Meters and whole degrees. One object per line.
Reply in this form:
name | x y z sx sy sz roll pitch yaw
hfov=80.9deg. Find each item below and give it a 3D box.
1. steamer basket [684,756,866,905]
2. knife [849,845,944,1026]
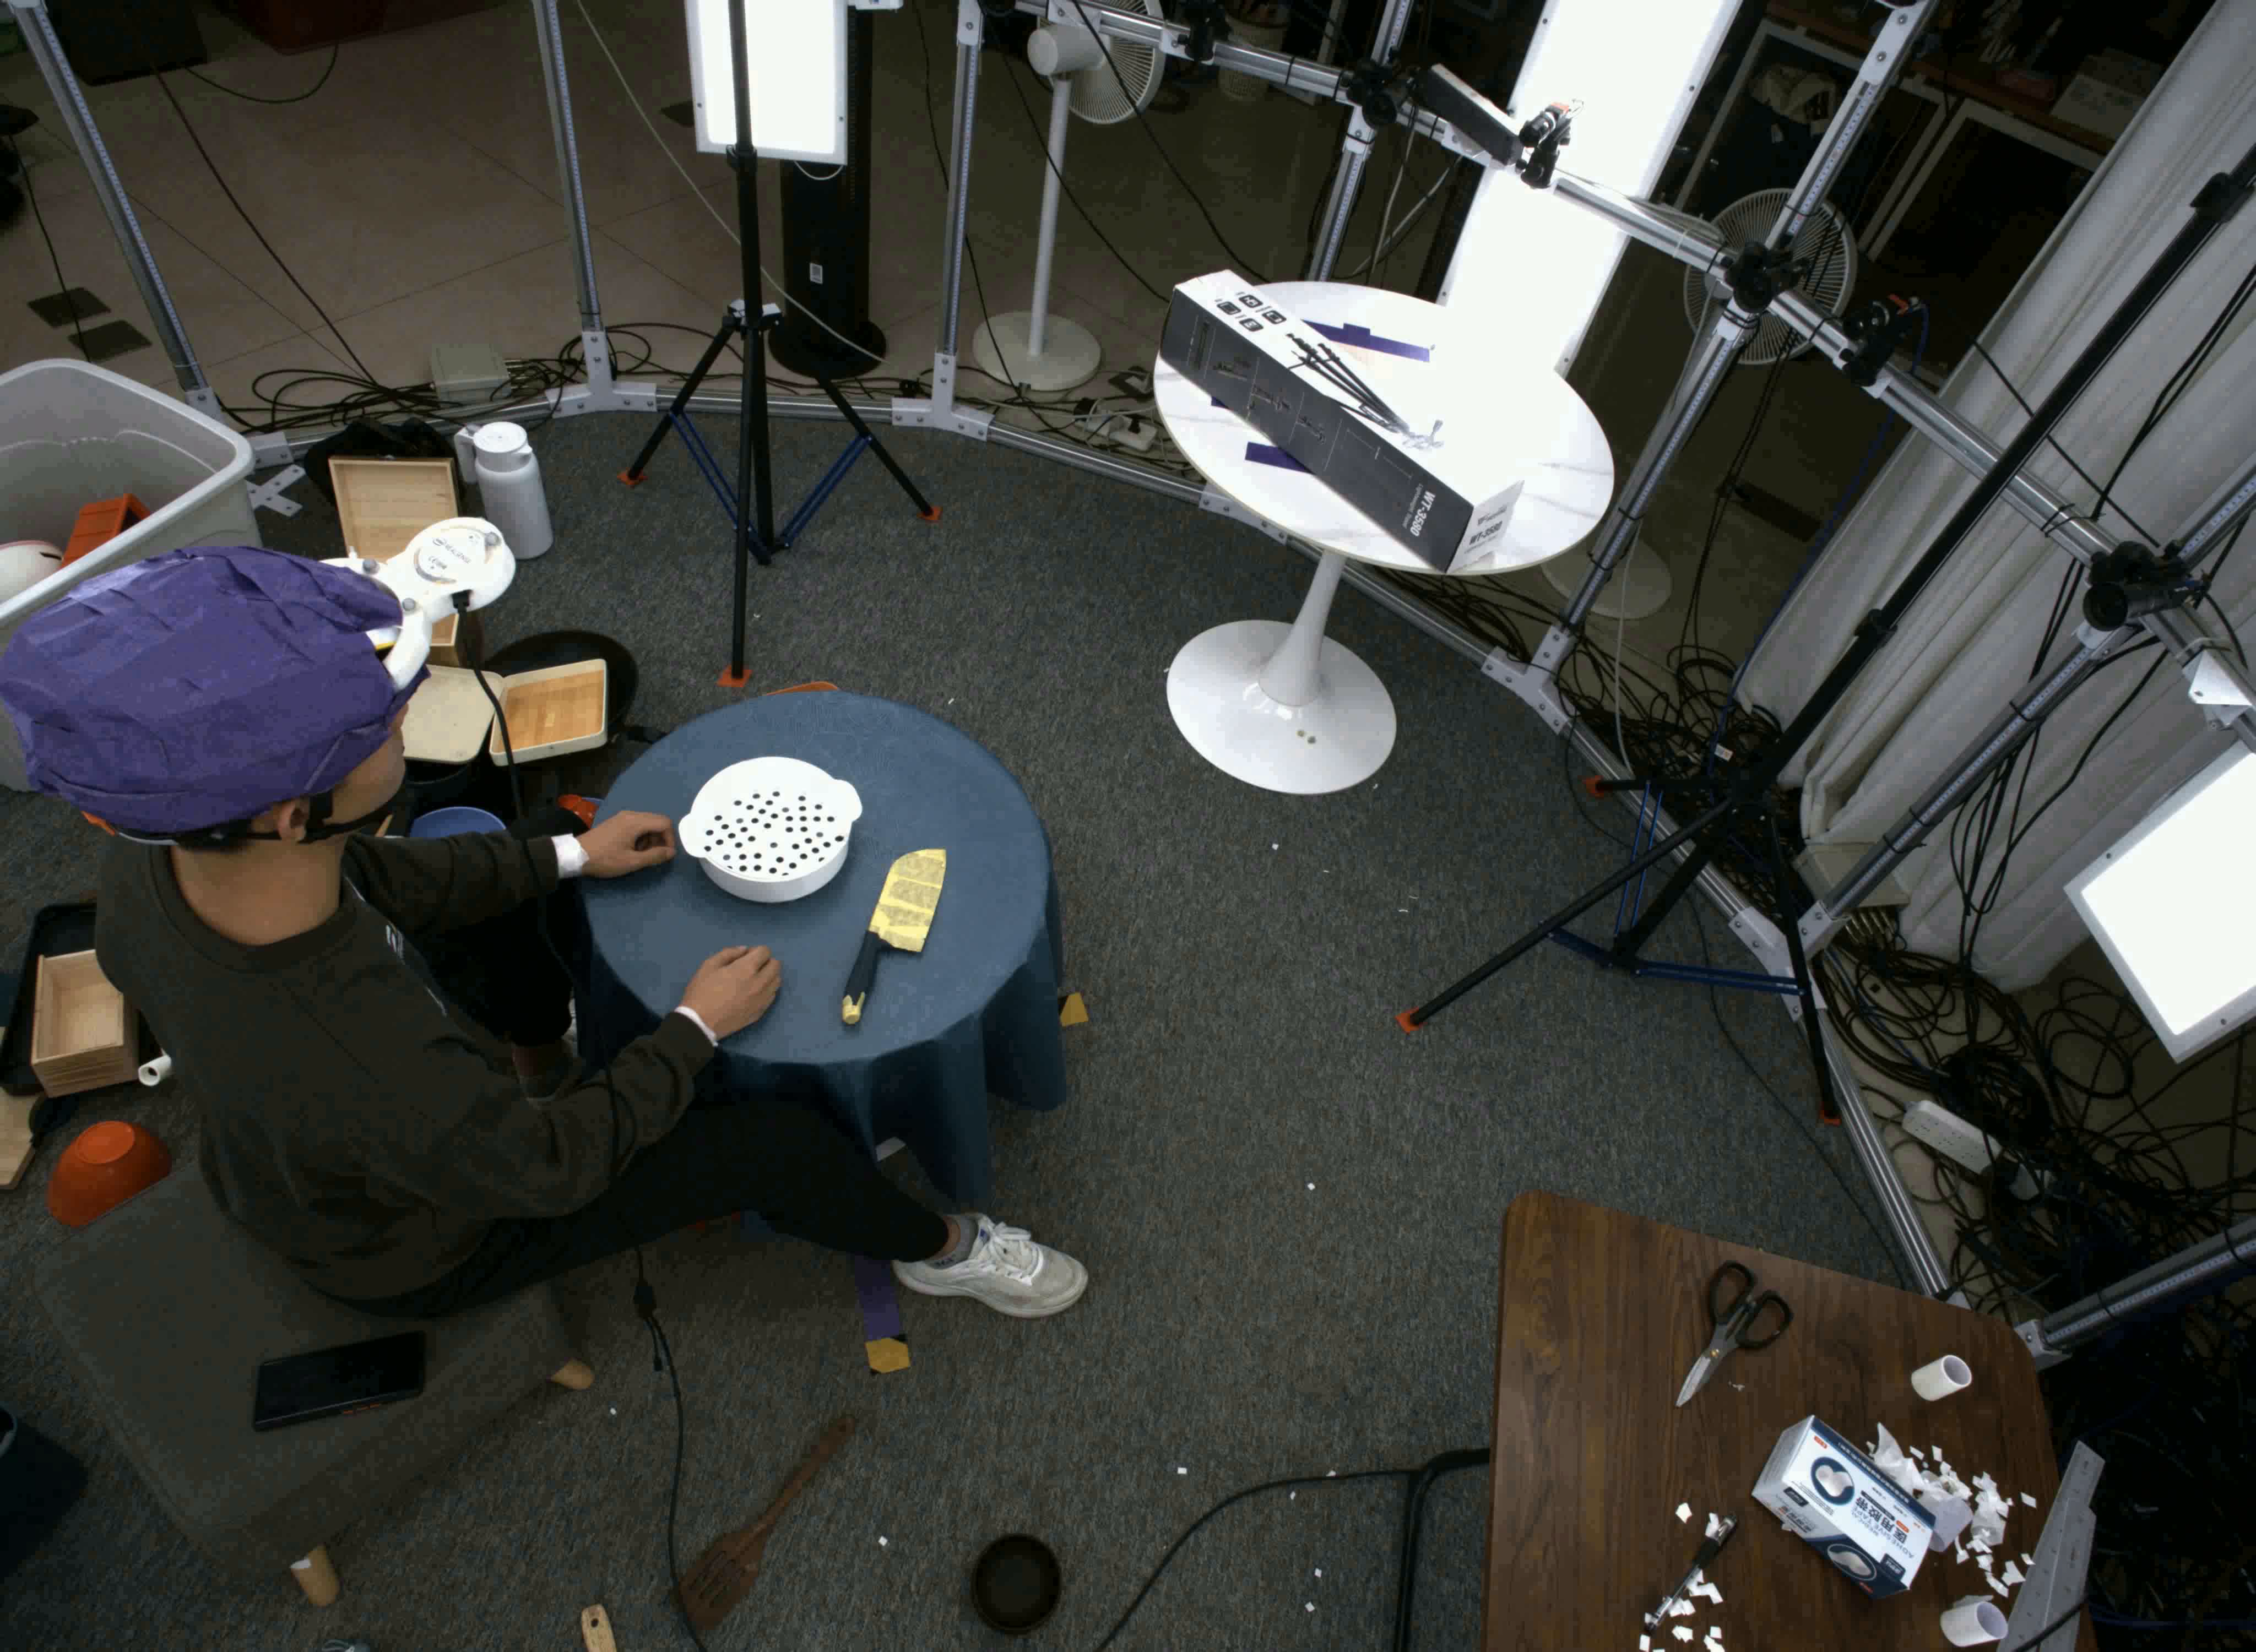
steamer basket | -0.454 0.004 1.681 0.231 0.071 0.197 -15 58 -22
knife | -0.294 0.132 1.661 0.080 0.028 0.286 15 51 0
